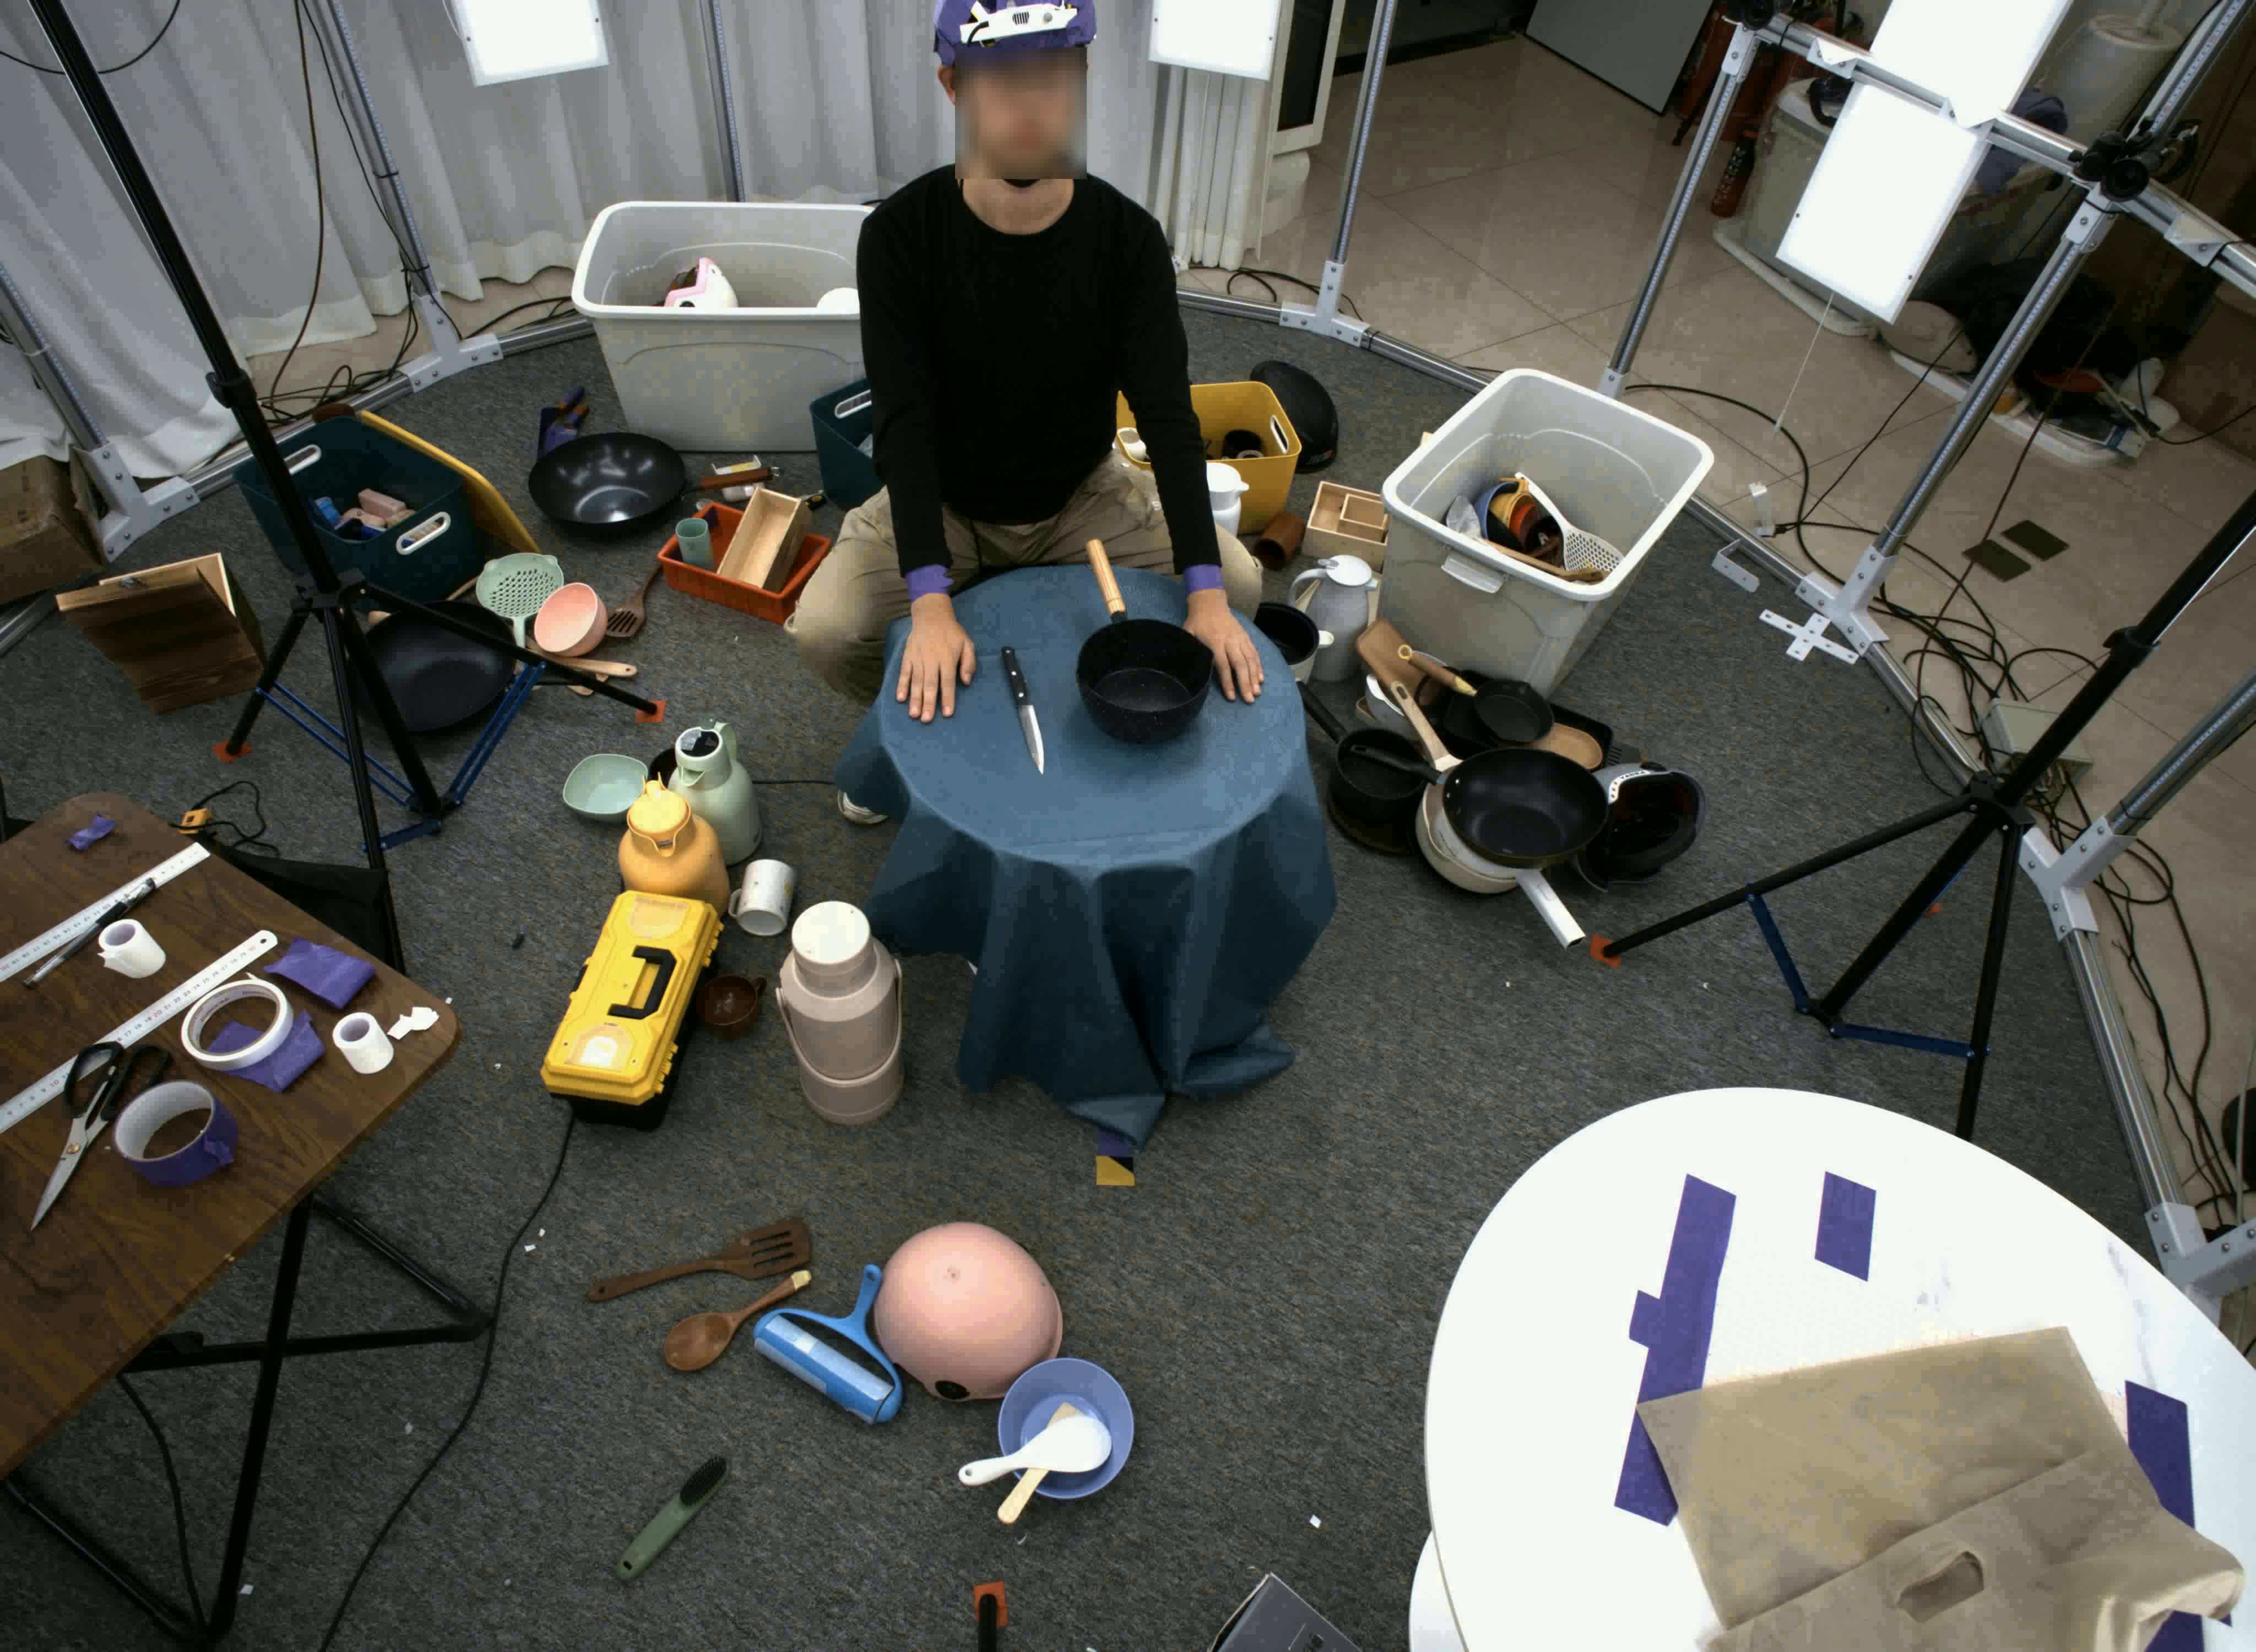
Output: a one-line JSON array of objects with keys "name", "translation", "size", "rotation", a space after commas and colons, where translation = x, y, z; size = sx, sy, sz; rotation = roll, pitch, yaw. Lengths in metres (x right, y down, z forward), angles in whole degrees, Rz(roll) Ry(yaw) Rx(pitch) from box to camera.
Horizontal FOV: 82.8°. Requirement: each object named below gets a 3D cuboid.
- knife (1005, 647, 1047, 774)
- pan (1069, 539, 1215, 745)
[{"name": "knife", "translation": [-0.143, -0.163, 1.795], "size": [0.024, 0.016, 0.244], "rotation": [-8, 53, -12]}, {"name": "pan", "translation": [-0.003, -0.262, 1.828], "size": [0.207, 0.105, 0.351], "rotation": [-12, 52, -13]}]
